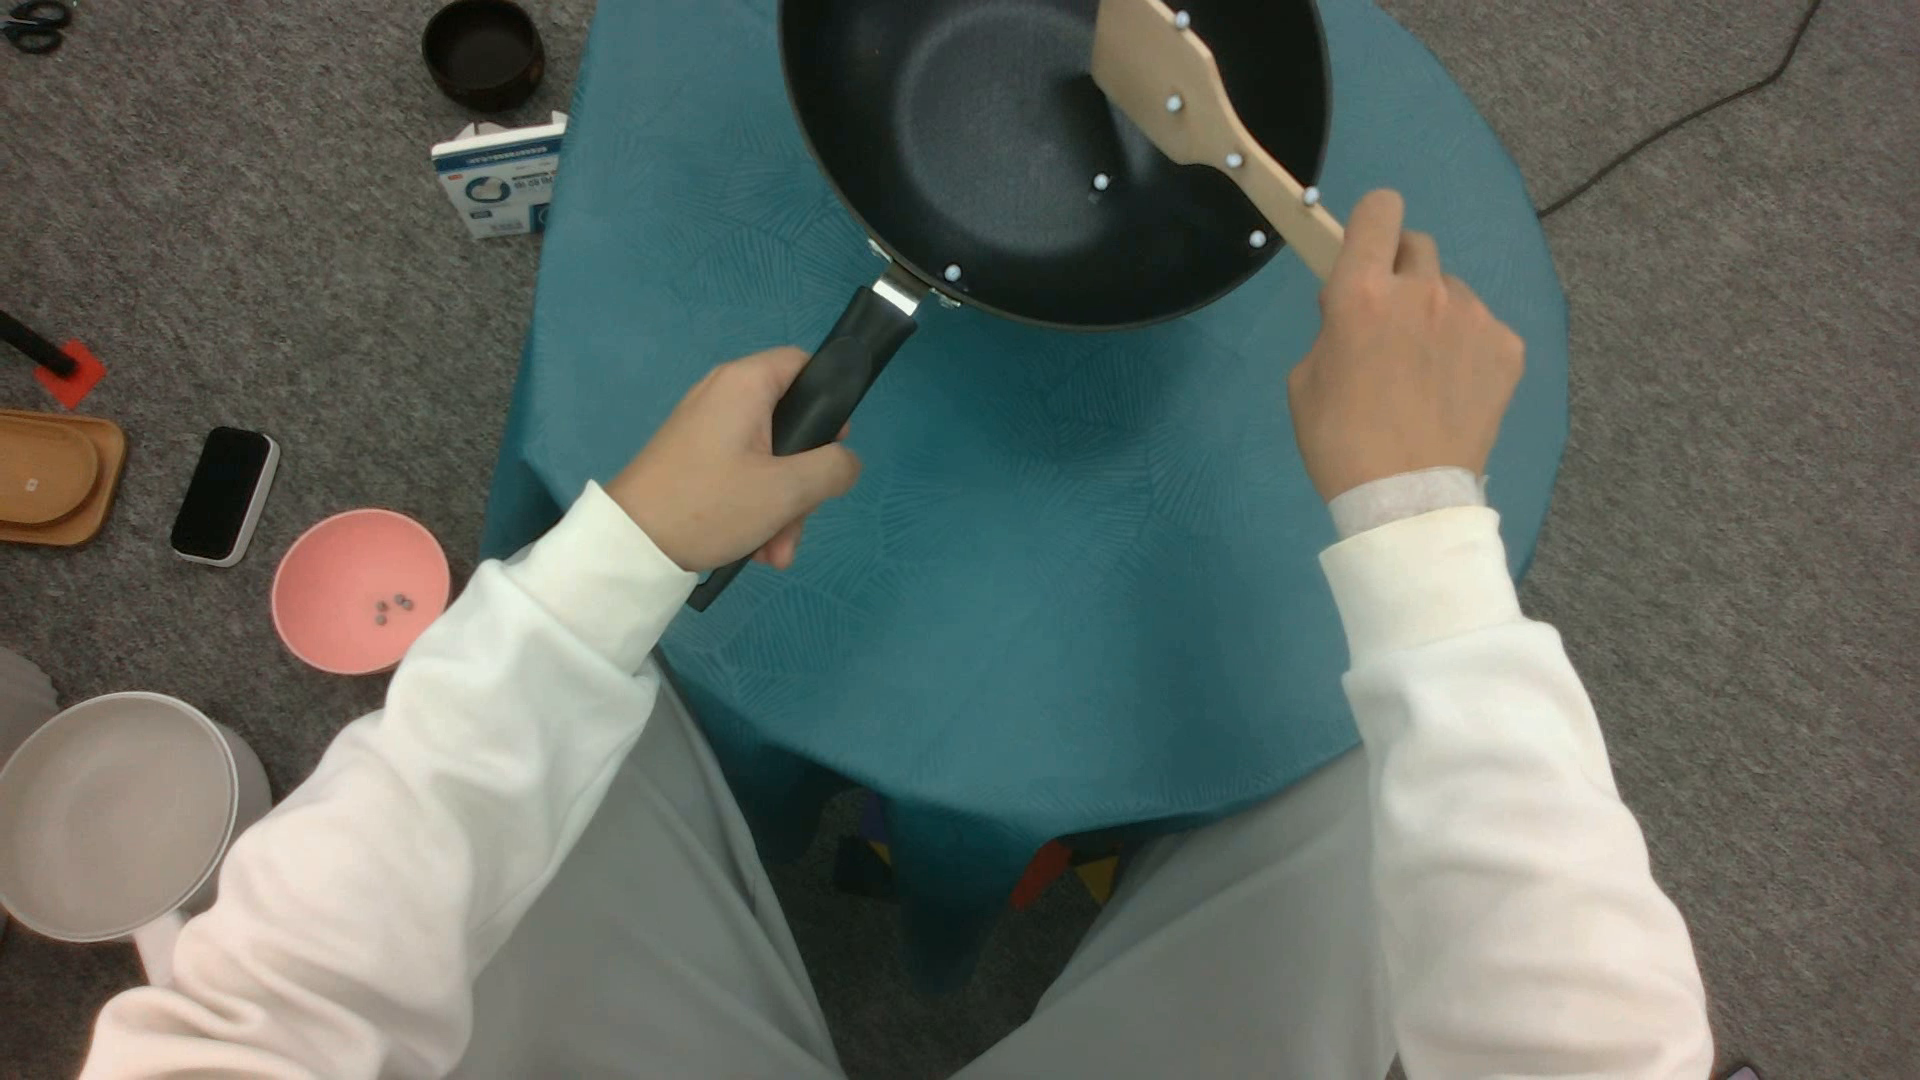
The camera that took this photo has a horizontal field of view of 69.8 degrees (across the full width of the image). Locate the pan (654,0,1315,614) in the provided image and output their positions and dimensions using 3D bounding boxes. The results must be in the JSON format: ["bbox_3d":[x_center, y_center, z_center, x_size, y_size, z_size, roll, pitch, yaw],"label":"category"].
[{"bbox_3d":[-0.008,-0.154,0.704,0.288,0.086,0.464,33,76,-4],"label":"pan"}]

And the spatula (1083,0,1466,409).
[{"bbox_3d":[0.148,-0.169,0.683,0.011,0.072,0.293,-25,60,-18],"label":"spatula"}]
